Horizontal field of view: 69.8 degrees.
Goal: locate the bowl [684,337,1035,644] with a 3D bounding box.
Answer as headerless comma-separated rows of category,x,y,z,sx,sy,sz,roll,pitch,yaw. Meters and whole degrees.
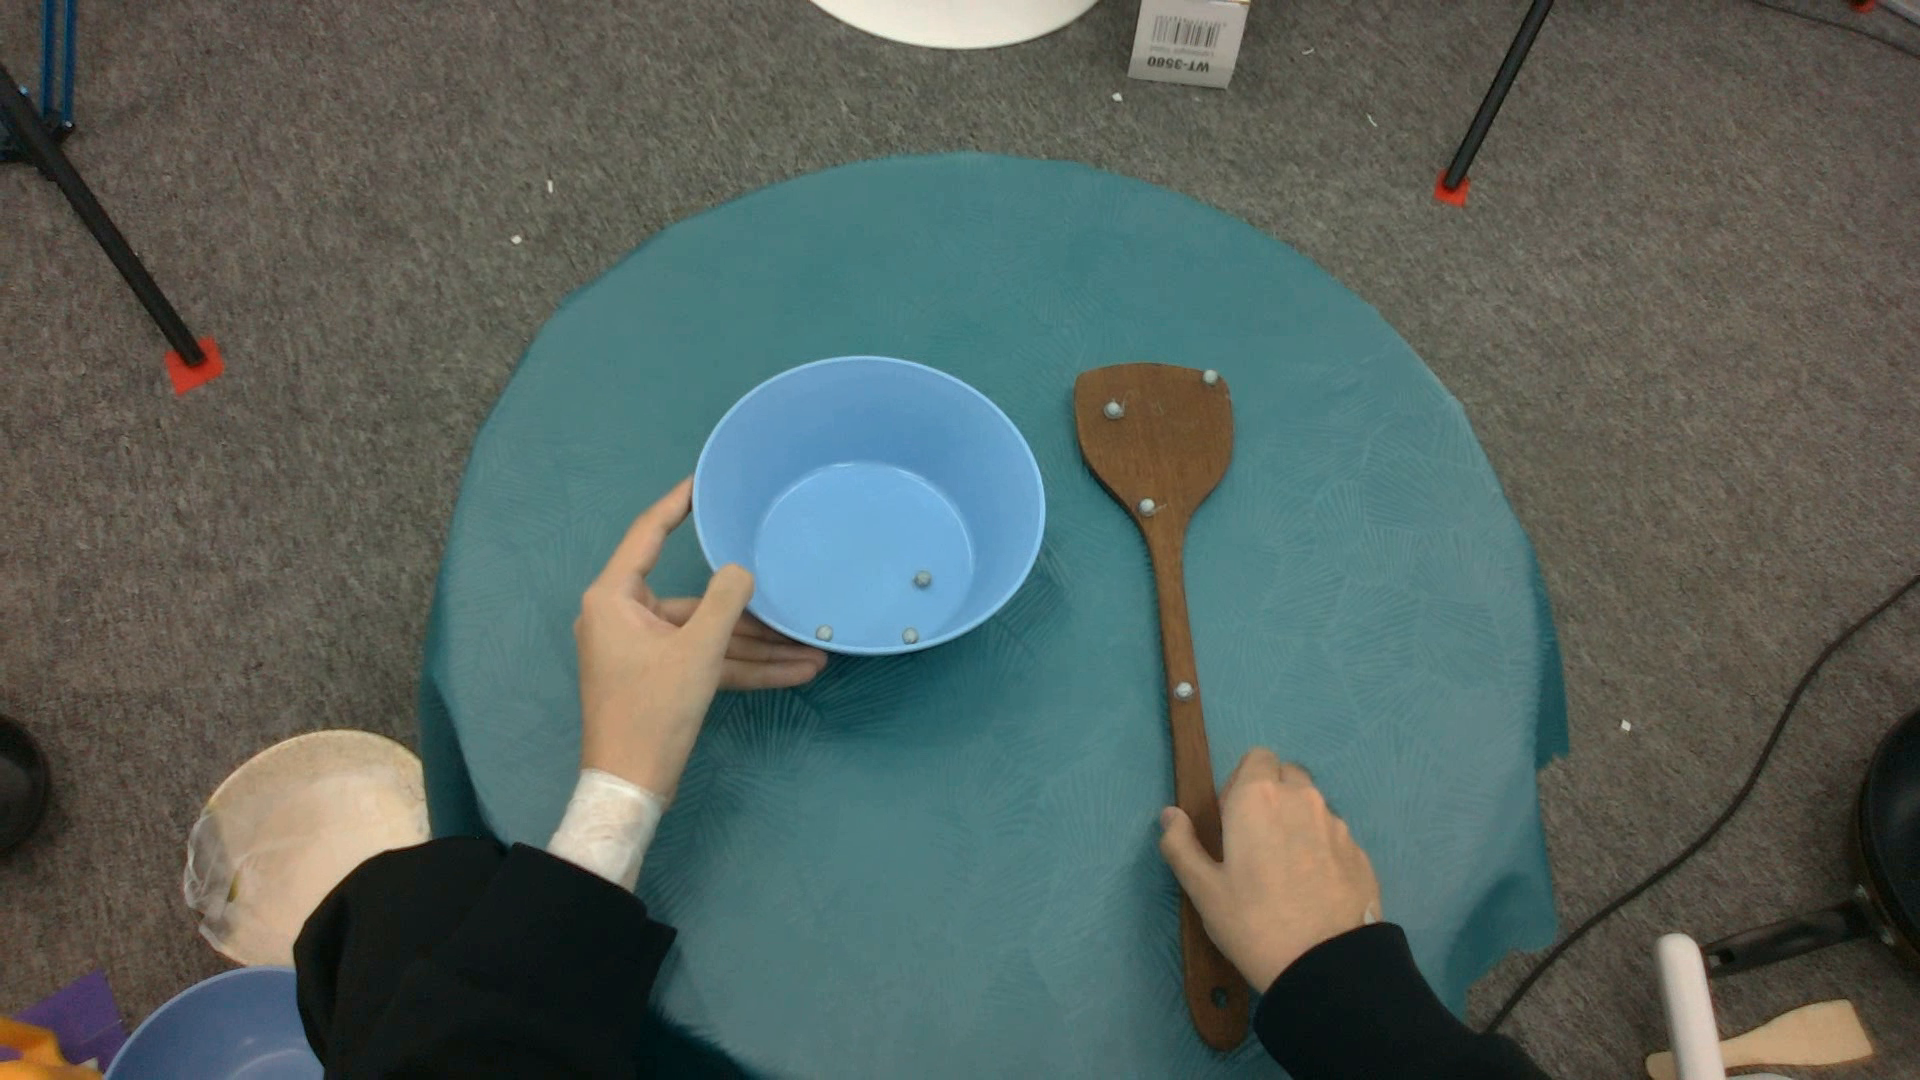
bowl,-0.052,-0.015,0.714,0.176,0.070,0.177,4,61,-6

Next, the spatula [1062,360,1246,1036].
spatula,0.112,0.059,0.724,0.096,0.016,0.387,1,58,-5
